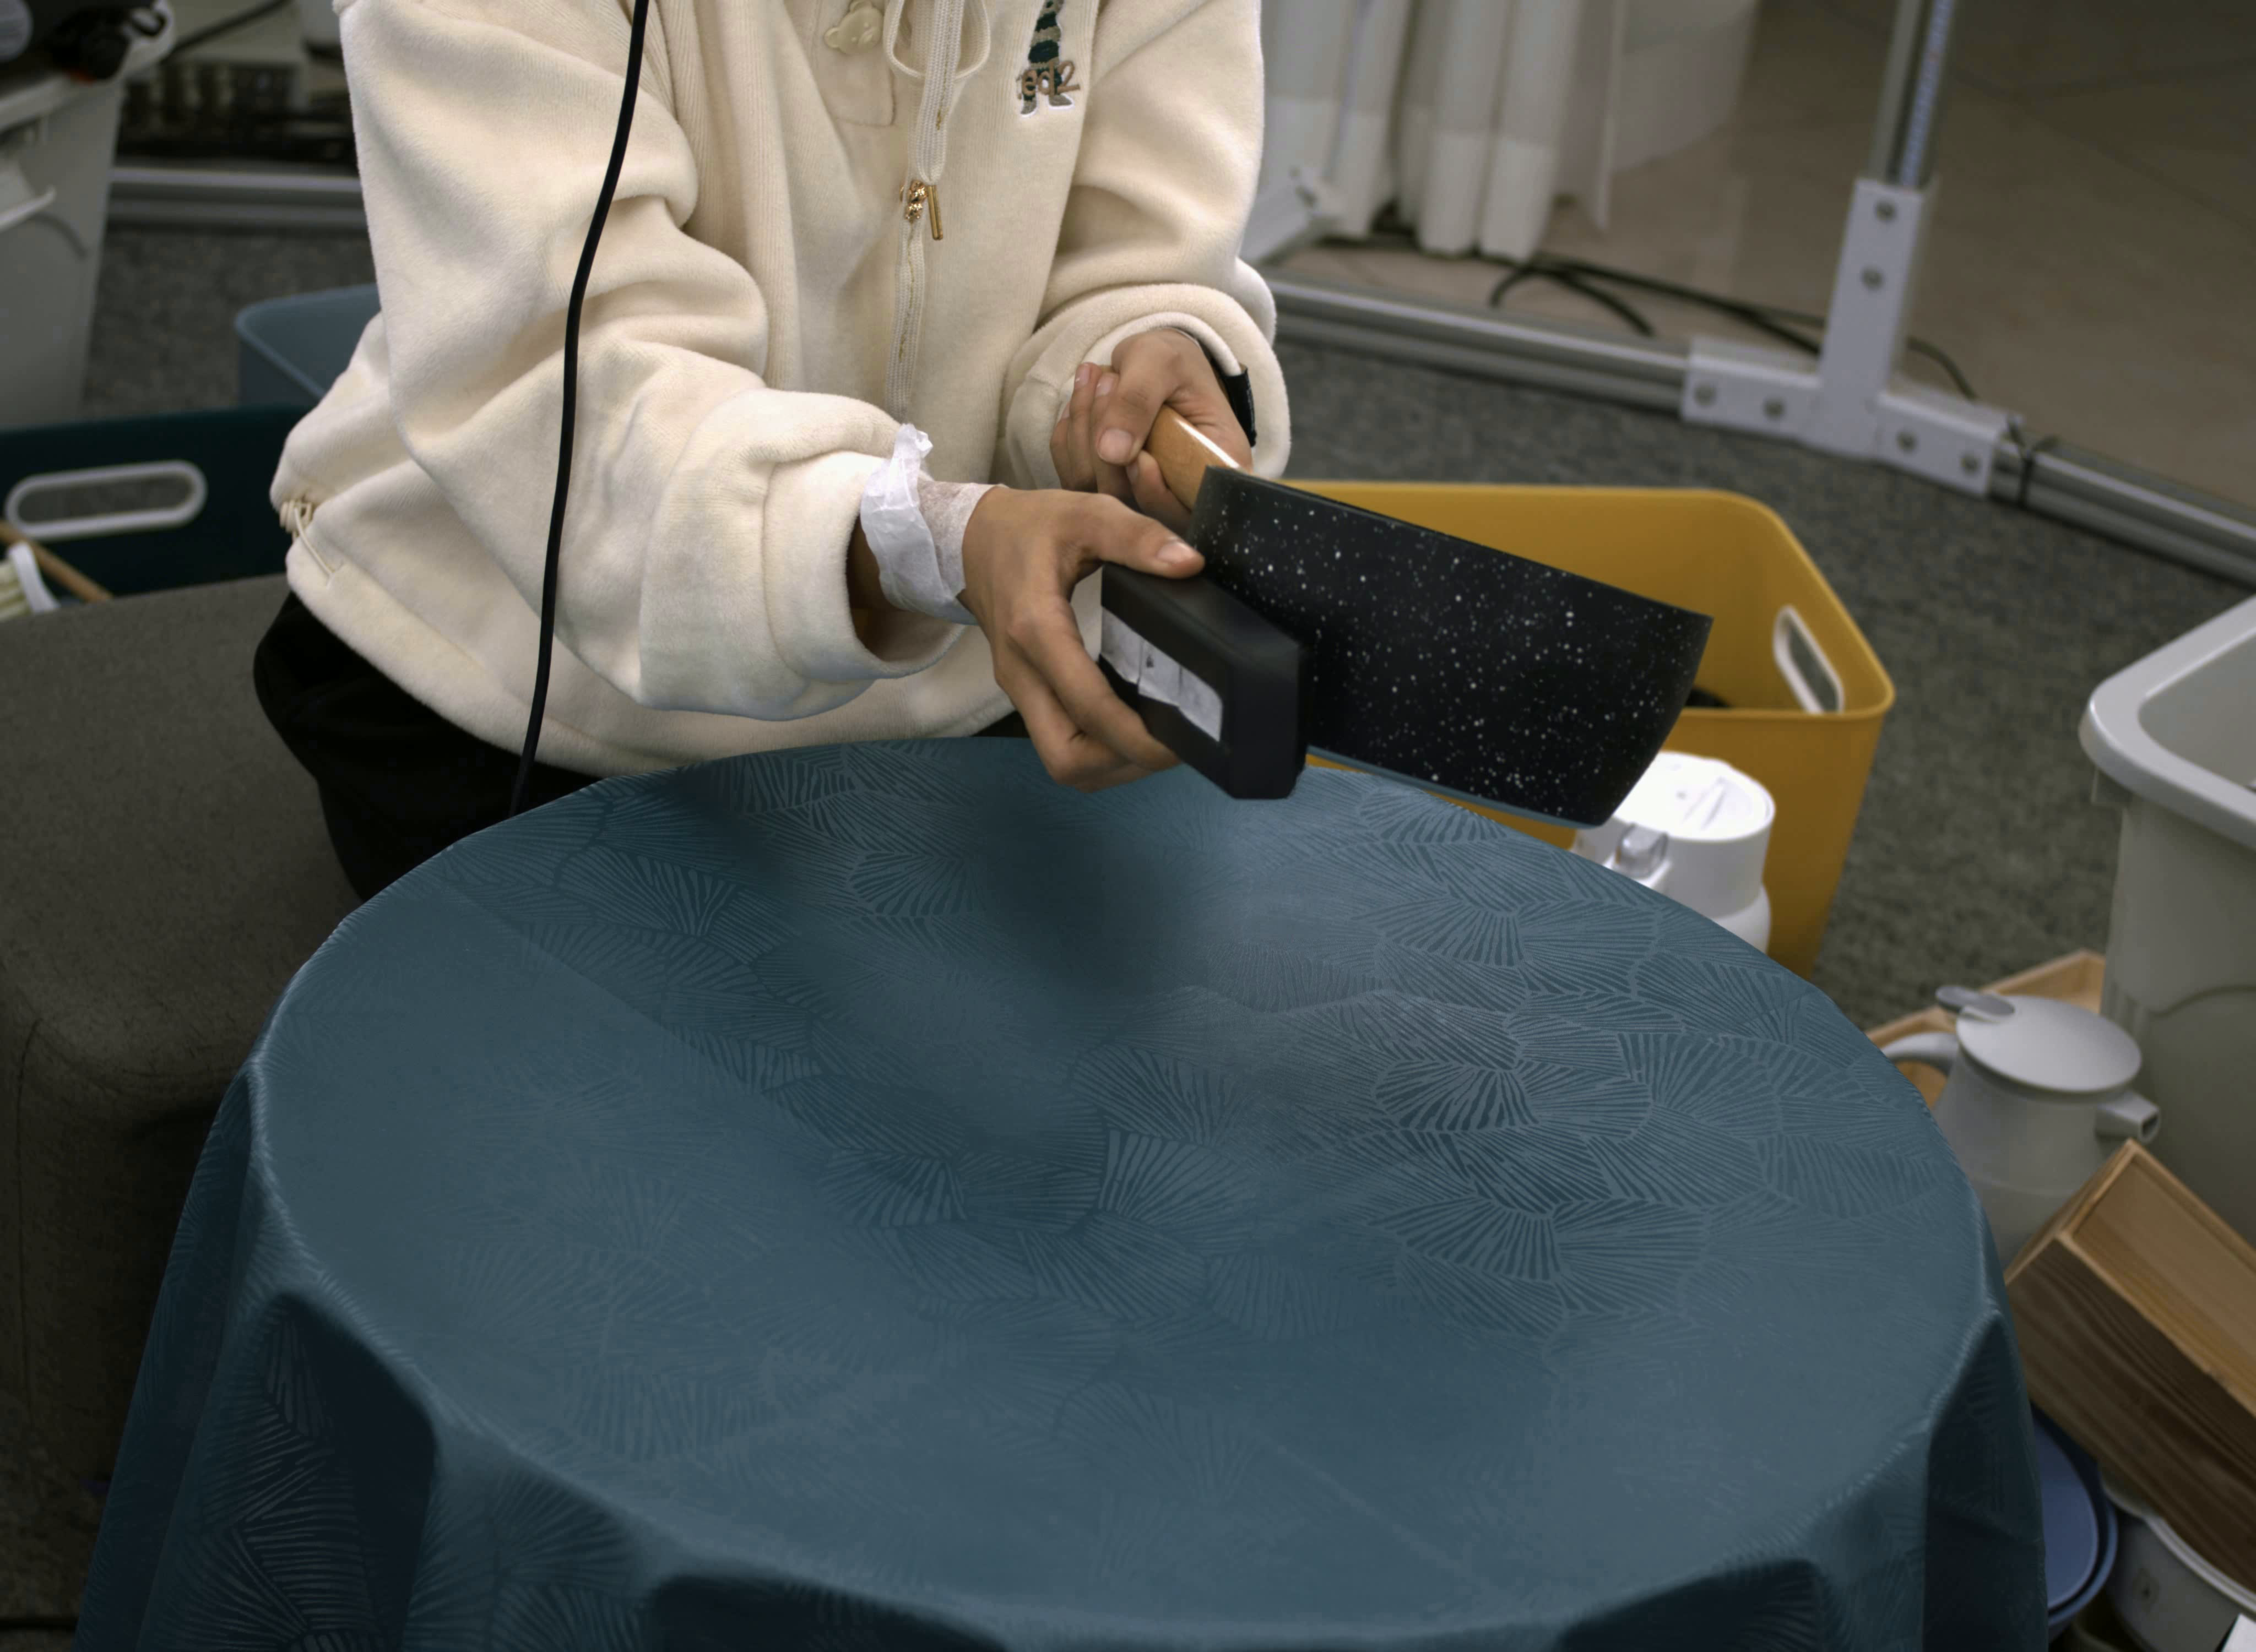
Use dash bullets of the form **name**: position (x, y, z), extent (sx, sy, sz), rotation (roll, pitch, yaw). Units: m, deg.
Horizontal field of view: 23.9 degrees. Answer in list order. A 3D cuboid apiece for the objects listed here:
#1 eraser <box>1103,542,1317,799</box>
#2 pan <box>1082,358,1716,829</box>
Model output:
- **eraser**: position (0.026, -0.053, 1.767), extent (0.030, 0.053, 0.126), rotation (-4, 20, -20)
- **pan**: position (0.063, -0.089, 1.907), extent (0.205, 0.108, 0.345), rotation (14, 6, -35)
